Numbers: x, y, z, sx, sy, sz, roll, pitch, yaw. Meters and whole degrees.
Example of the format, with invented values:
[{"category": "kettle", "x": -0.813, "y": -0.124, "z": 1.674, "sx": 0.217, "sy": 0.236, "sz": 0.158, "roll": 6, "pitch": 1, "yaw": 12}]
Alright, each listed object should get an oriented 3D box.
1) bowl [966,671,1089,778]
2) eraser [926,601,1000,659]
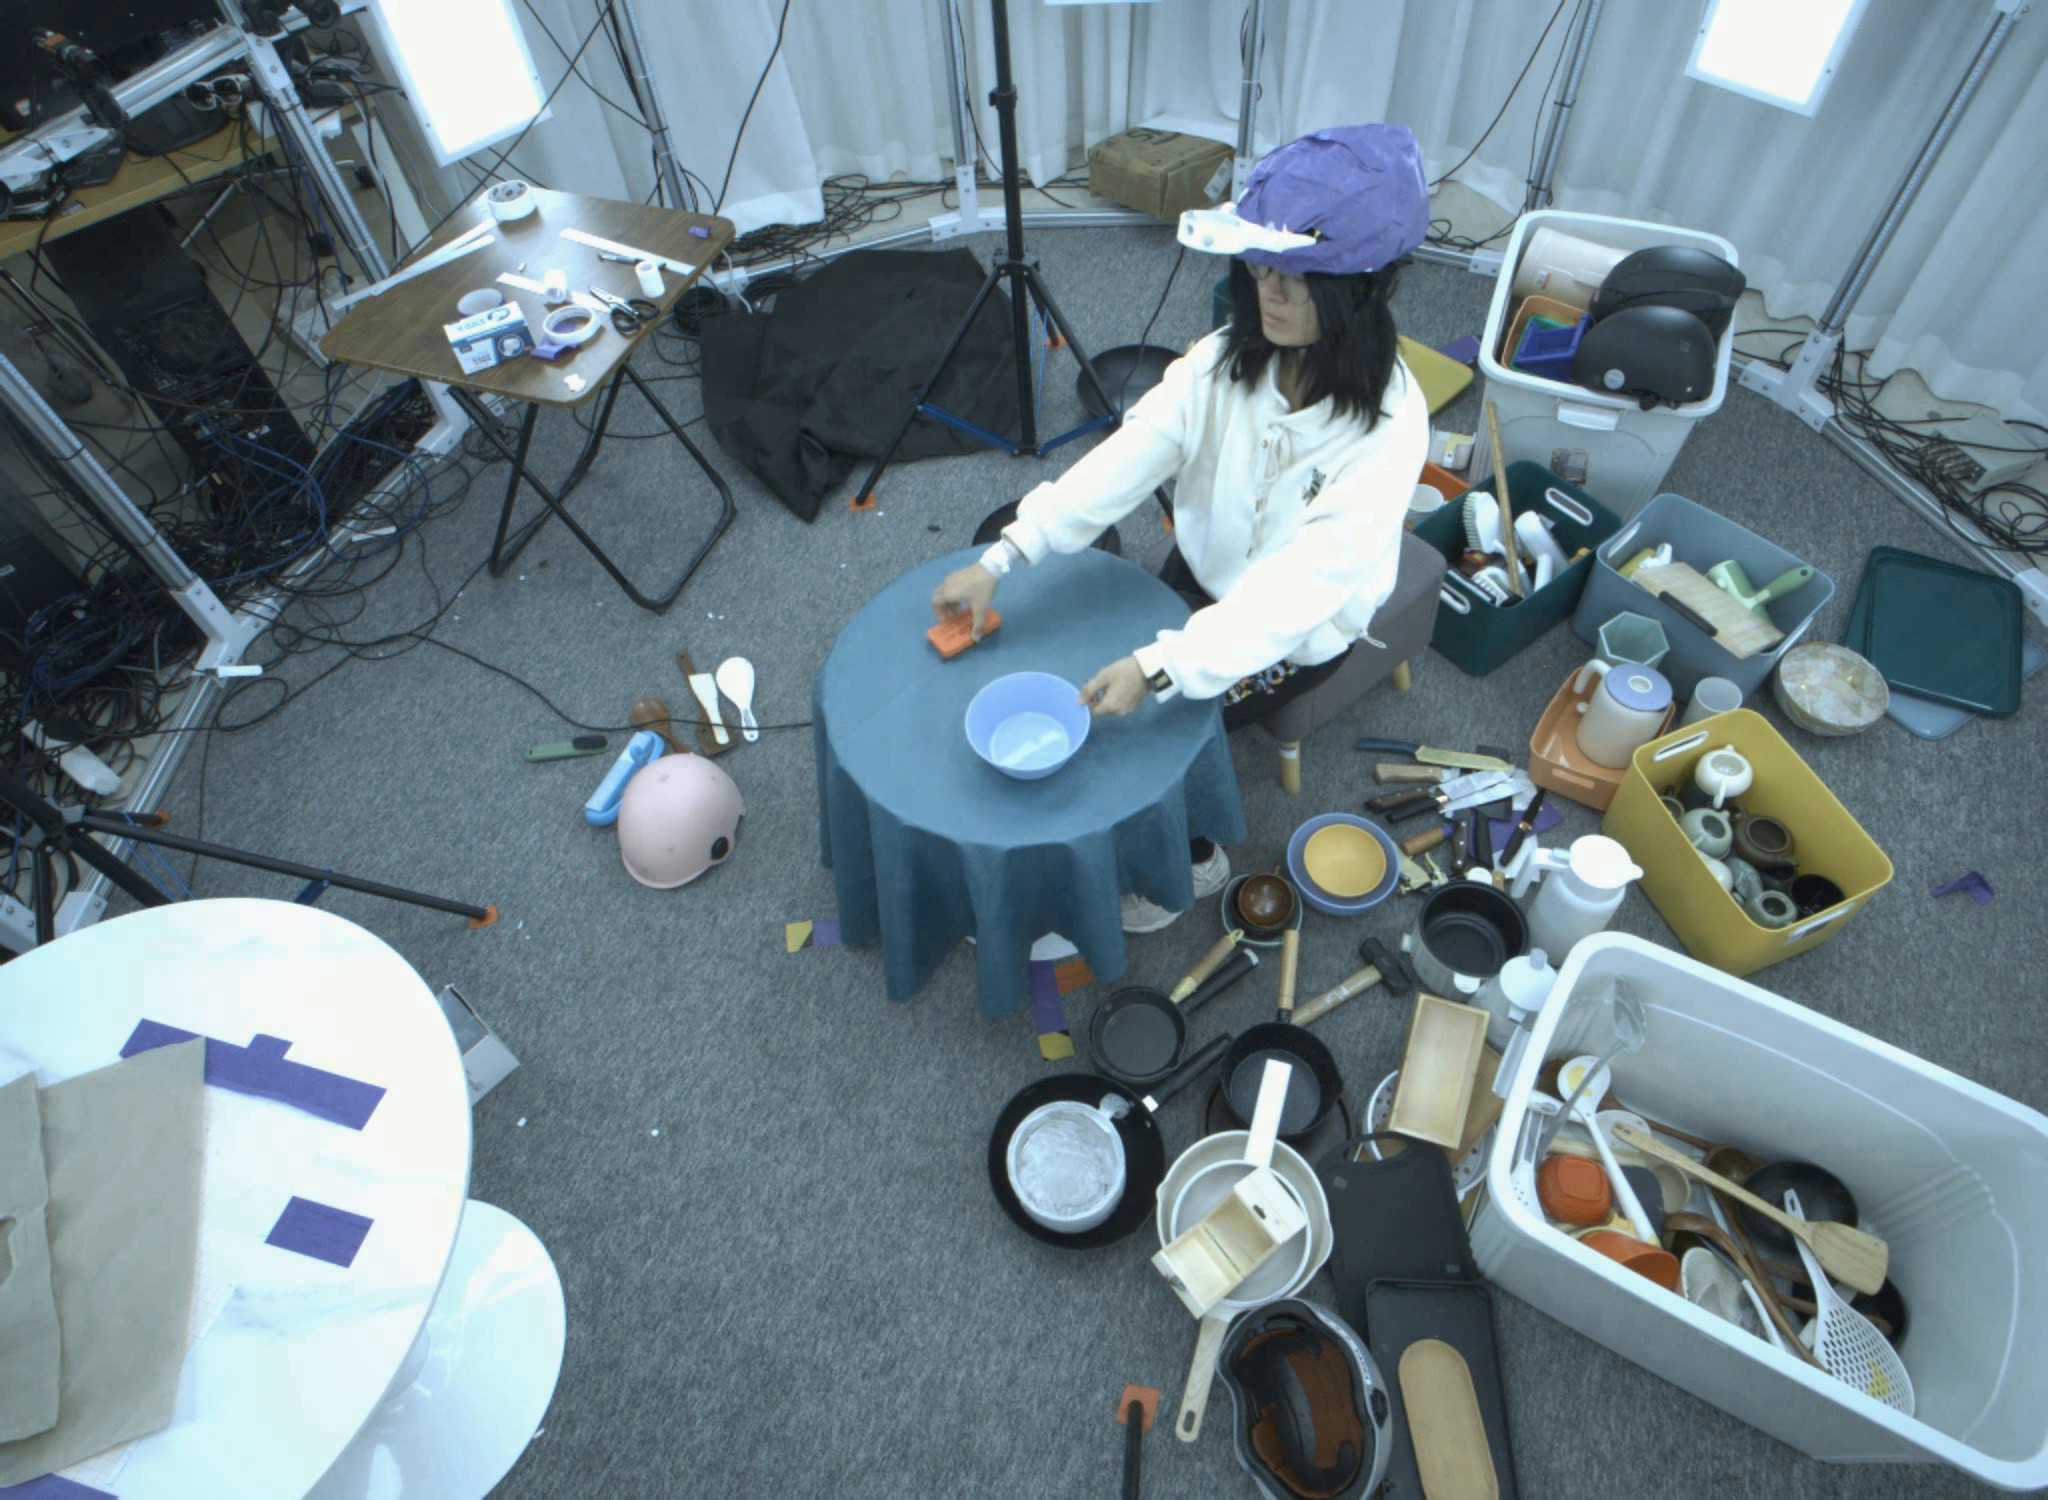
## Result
[{"category": "bowl", "x": 0.007, "y": -0.026, "z": 1.762, "sx": 0.176, "sy": 0.071, "sz": 0.174, "roll": -1, "pitch": 55, "yaw": 2}, {"category": "eraser", "x": -0.095, "y": -0.187, "z": 1.909, "sx": 0.109, "sy": 0.023, "sz": 0.058, "roll": -32, "pitch": 58, "yaw": -19}]
